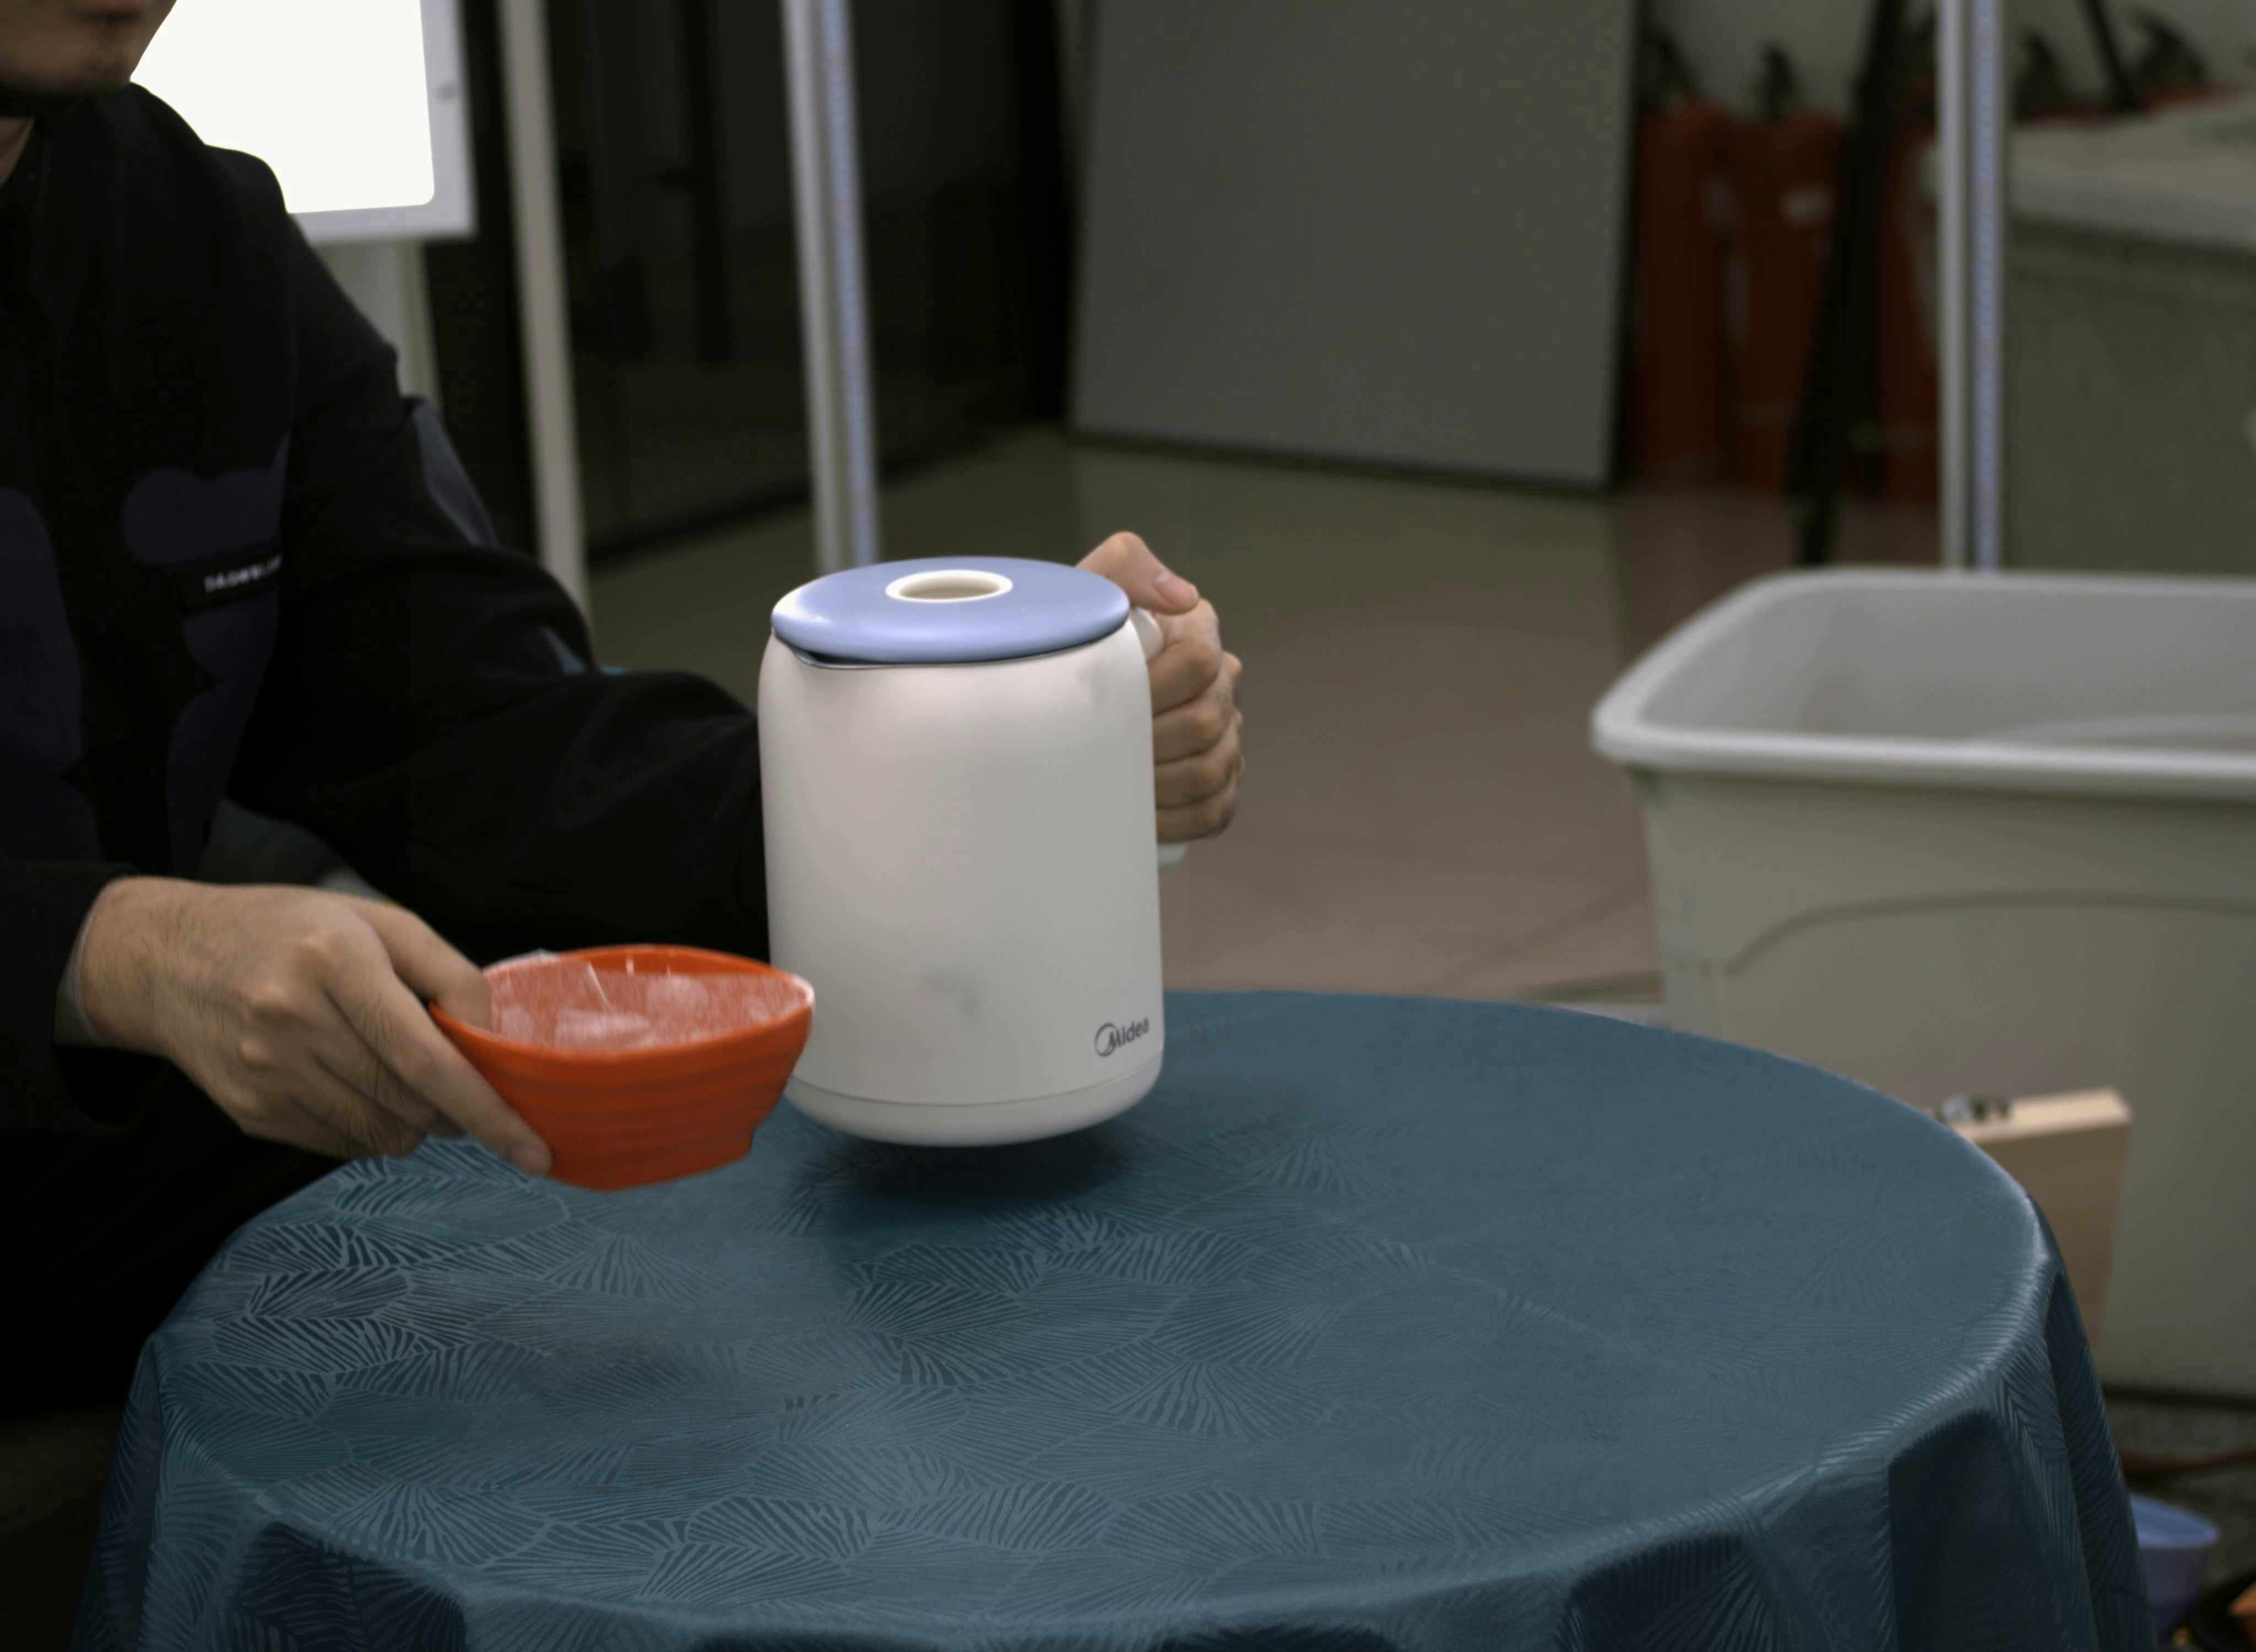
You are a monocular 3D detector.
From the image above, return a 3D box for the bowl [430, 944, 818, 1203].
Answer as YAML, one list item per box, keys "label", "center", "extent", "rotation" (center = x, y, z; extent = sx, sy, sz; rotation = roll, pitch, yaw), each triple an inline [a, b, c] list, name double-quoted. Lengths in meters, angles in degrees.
- label: "bowl"
  center: [-0.152, 0.077, 1.640]
  extent: [0.117, 0.052, 0.119]
  rotation: [-1, 16, -1]

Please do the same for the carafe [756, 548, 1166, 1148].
- label: "carafe"
  center: [-0.043, 0.001, 1.806]
  extent: [0.133, 0.184, 0.188]
  rotation: [10, 17, 34]
